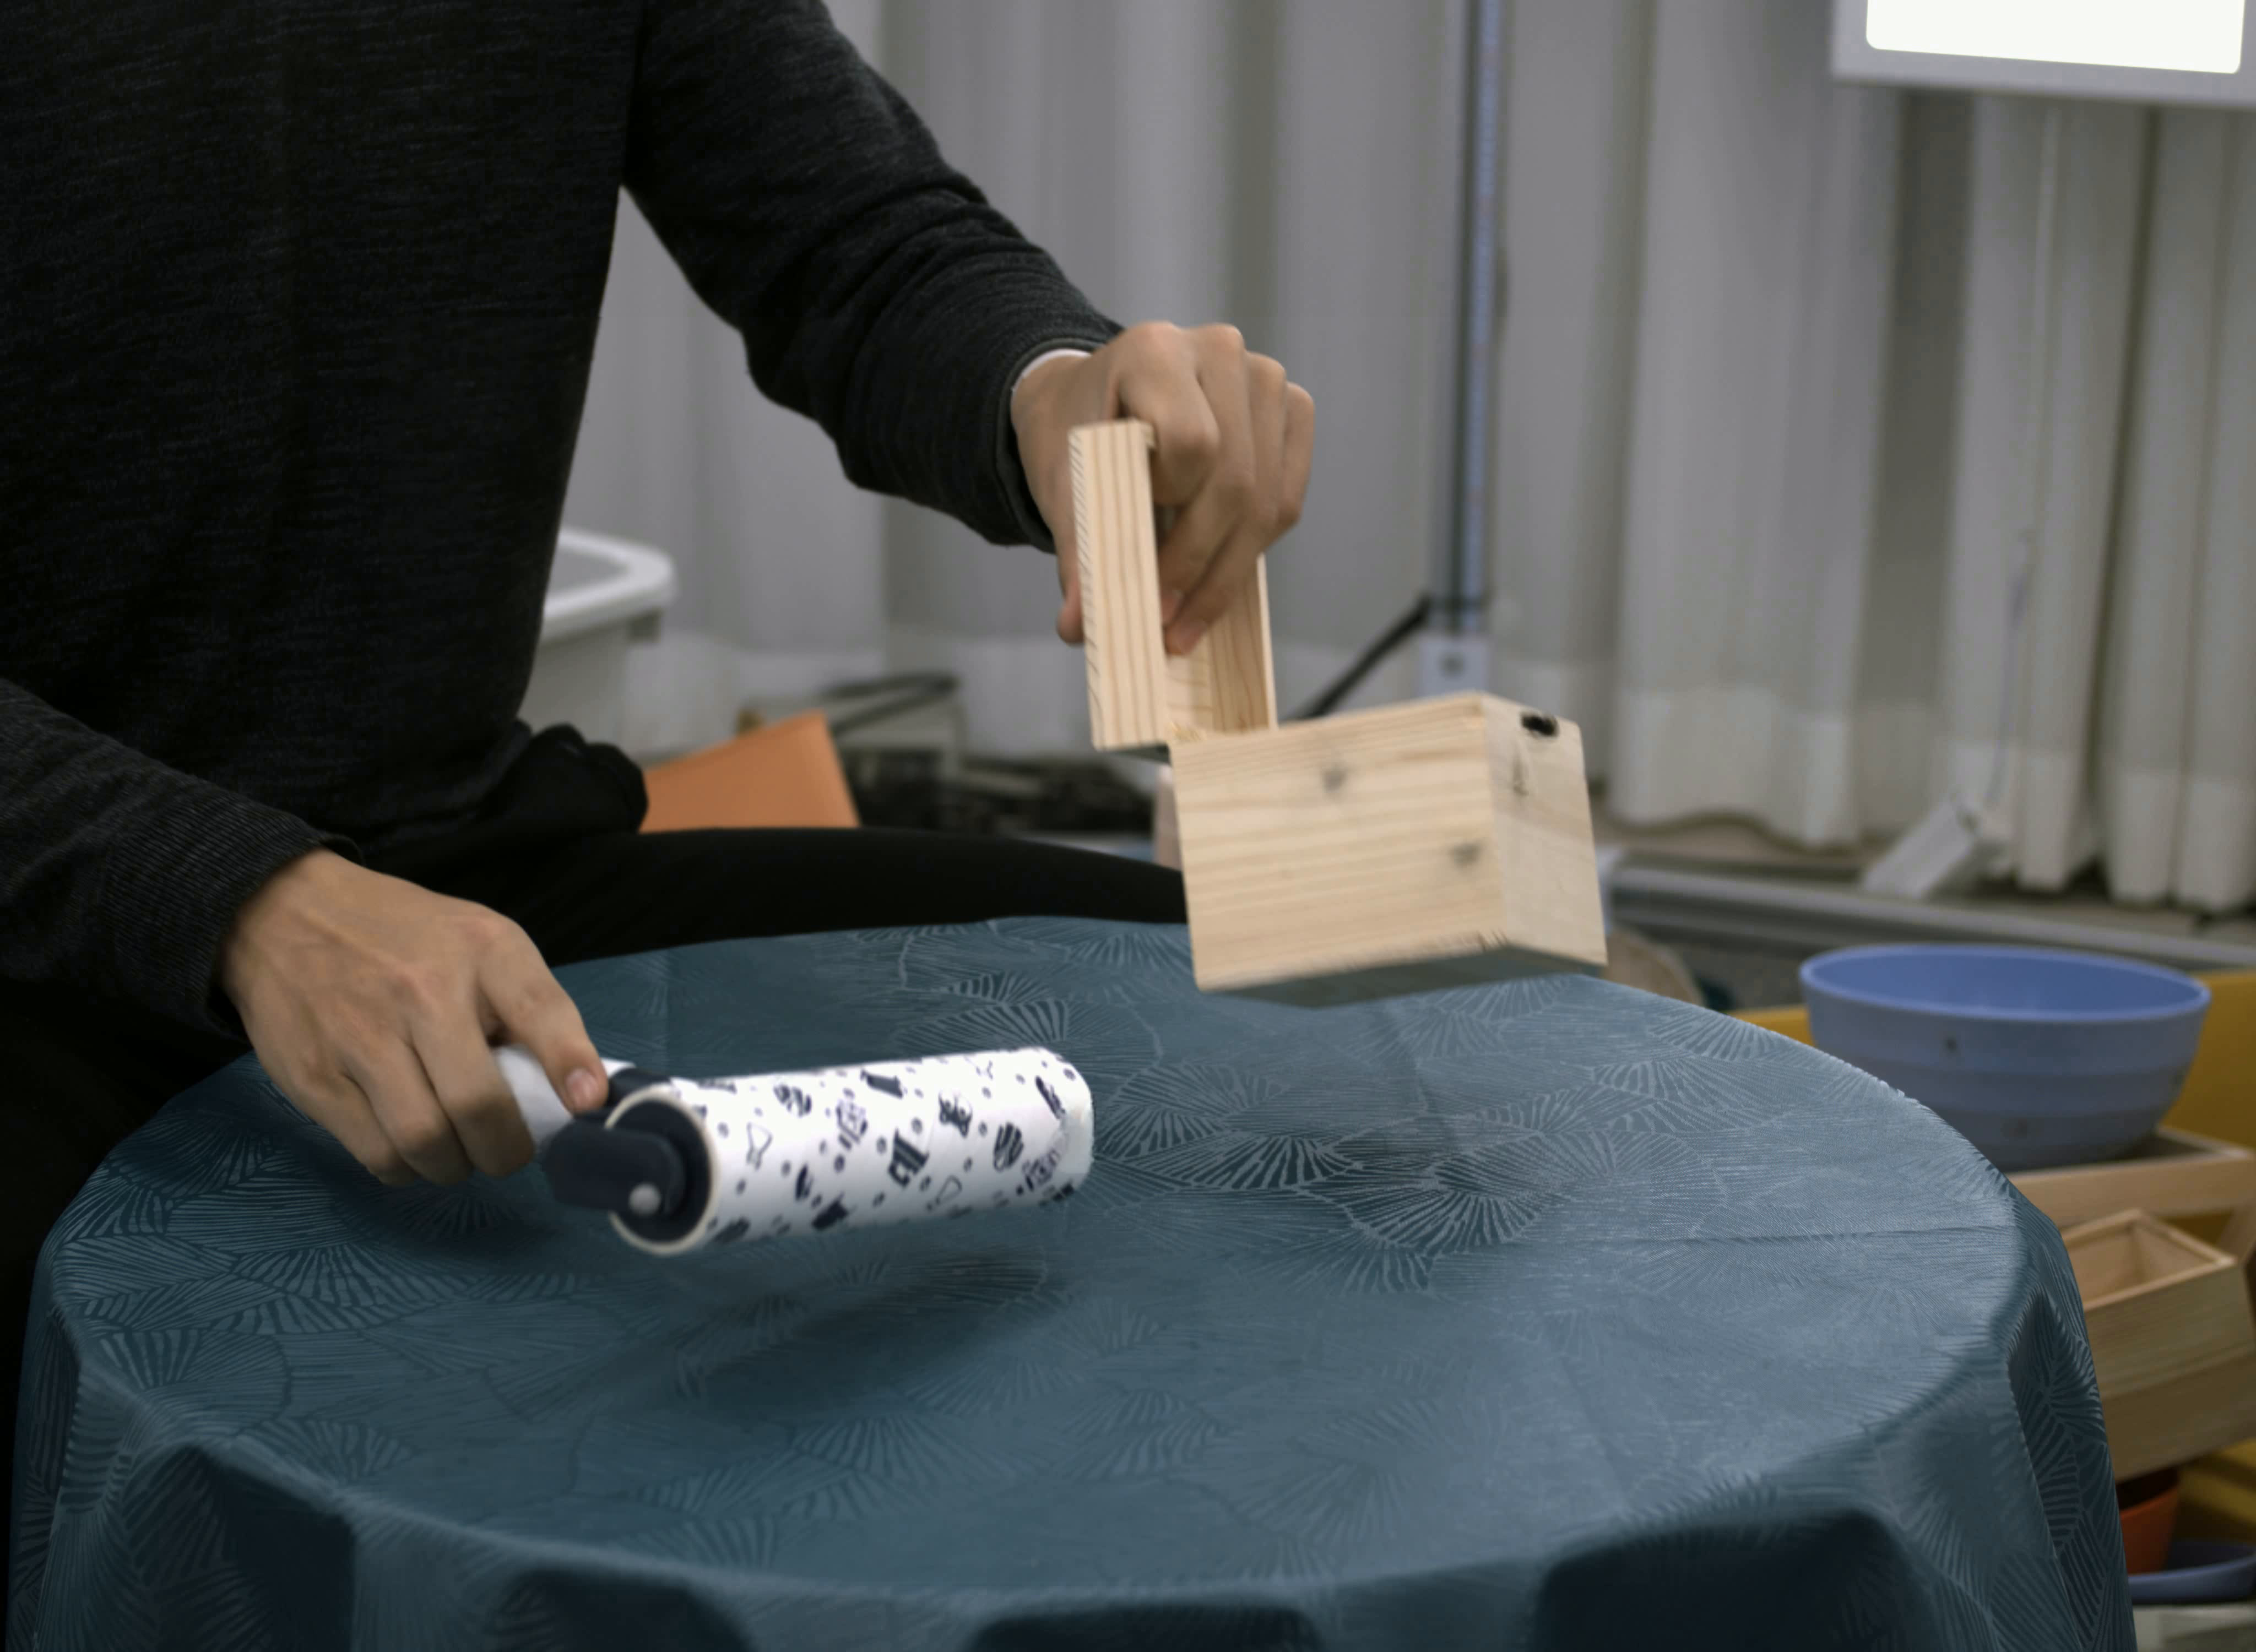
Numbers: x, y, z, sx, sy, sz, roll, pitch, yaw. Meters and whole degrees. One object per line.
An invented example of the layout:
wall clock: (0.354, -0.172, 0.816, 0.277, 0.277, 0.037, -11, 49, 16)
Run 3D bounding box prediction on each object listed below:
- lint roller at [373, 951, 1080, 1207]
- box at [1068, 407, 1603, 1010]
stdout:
lint roller: (-0.154, 0.065, 1.570, 0.178, 0.050, 0.244, 3, 10, -41)
box: (0.066, -0.043, 1.637, 0.133, 0.184, 0.103, -10, -9, 21)
